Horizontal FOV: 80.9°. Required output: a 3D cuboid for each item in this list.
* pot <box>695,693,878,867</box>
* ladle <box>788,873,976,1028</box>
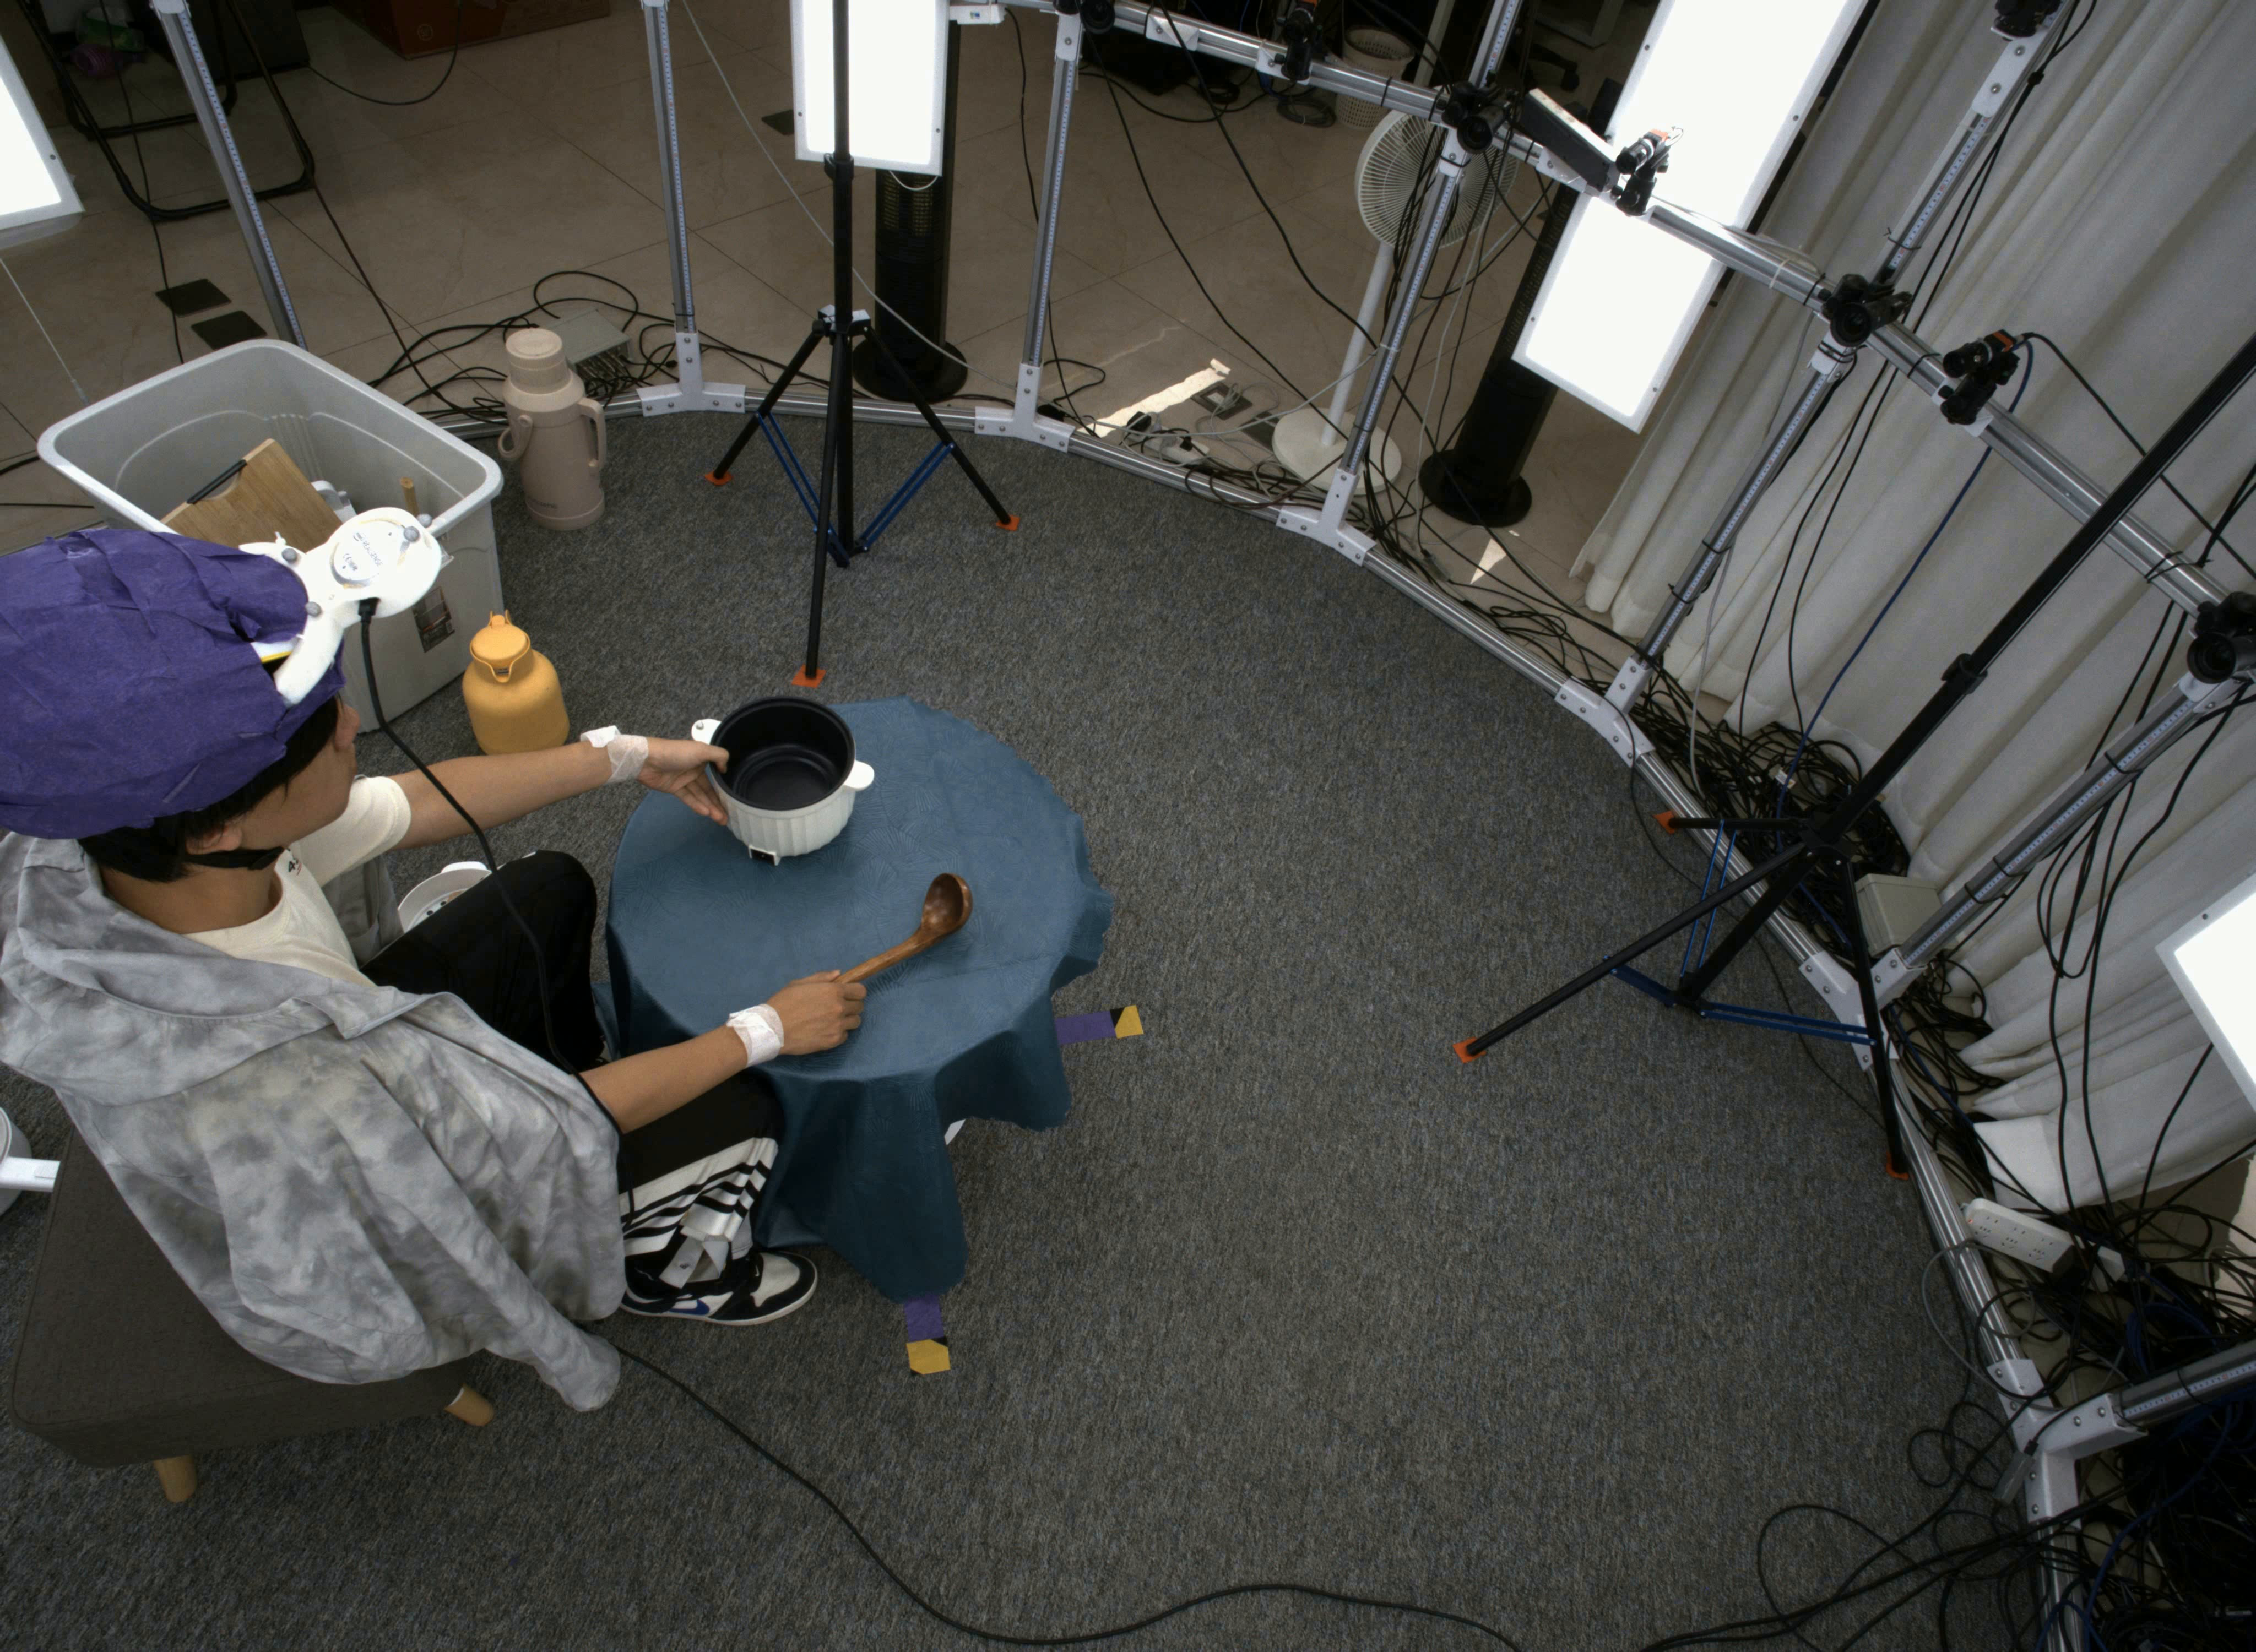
[{"bbox_3d":[-0.436,-0.063,1.677,0.238,0.145,0.188,16,58,-2],"label":"pot"},{"bbox_3d":[-0.302,0.145,1.589,0.275,0.079,0.079,-30,31,-30],"label":"ladle"}]
